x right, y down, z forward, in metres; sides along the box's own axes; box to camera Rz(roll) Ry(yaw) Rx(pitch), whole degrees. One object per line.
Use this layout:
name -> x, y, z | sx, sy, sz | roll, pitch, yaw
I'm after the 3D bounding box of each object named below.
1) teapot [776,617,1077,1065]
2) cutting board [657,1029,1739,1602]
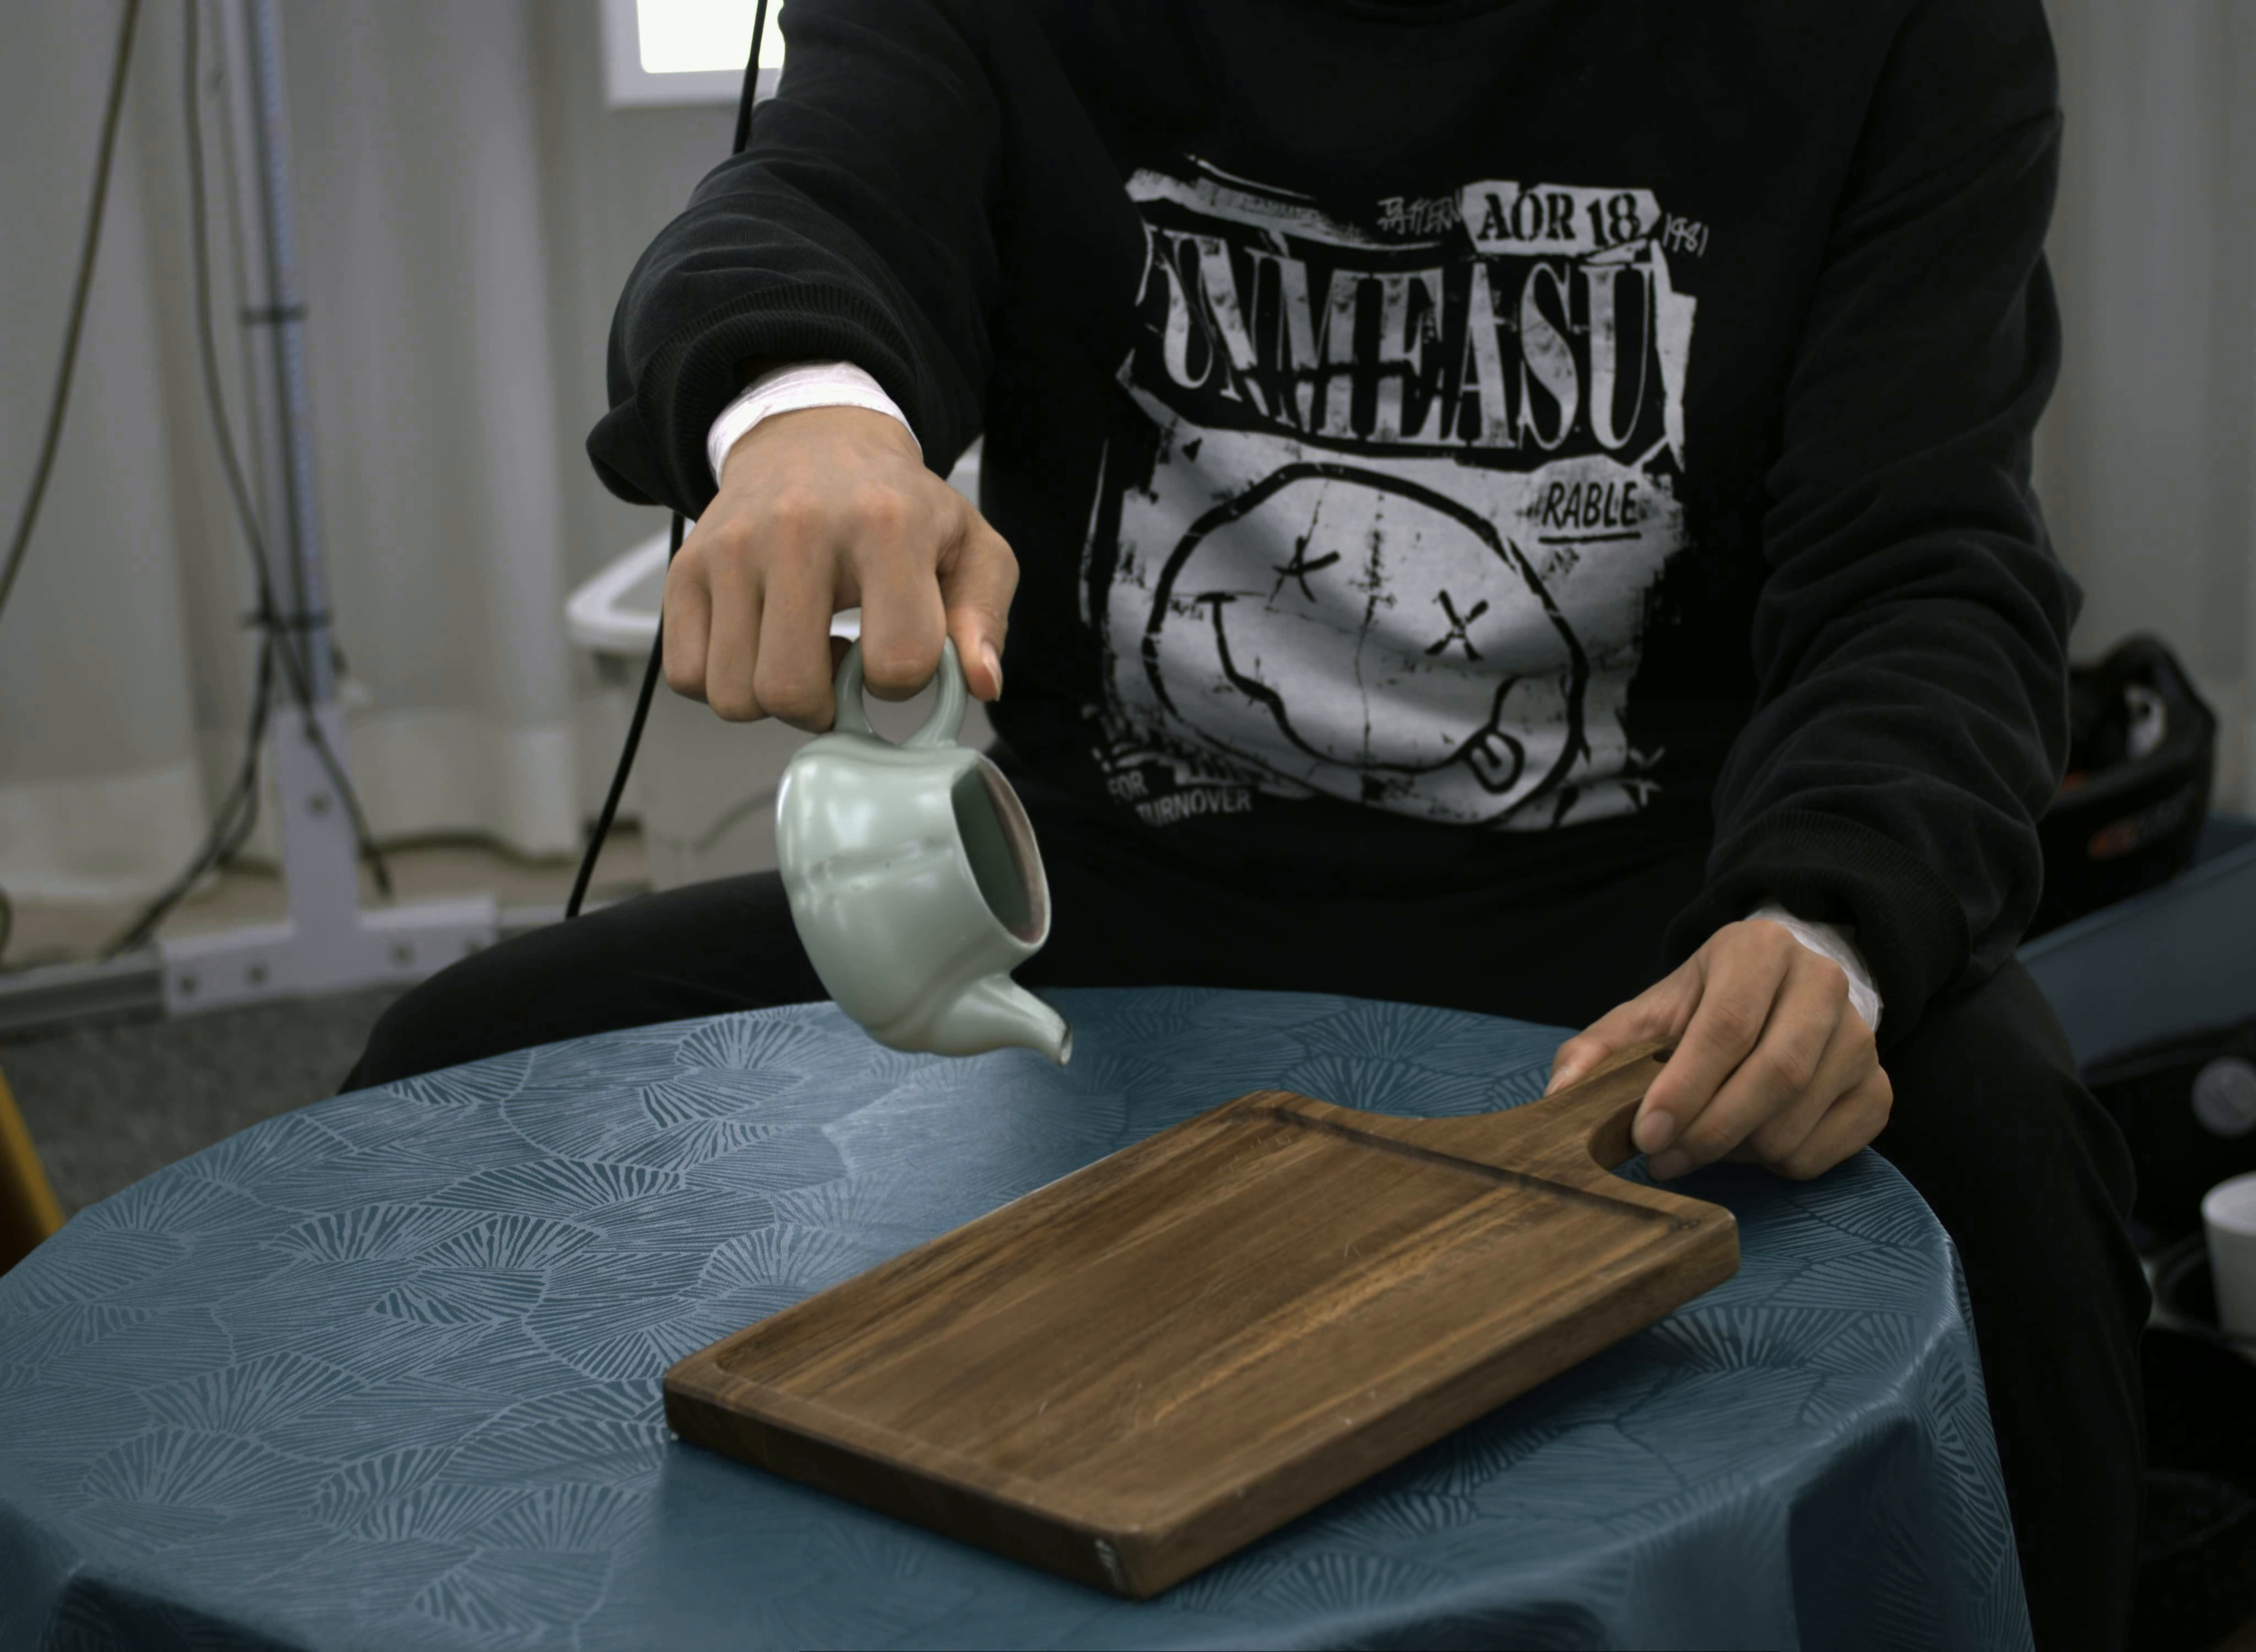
teapot -> -0.061, 0.010, 1.556 | 0.061, 0.138, 0.096 | -19, -7, 19
cutting board -> 0.055, 0.125, 1.570 | 0.202, 0.023, 0.352 | 12, 26, 43
